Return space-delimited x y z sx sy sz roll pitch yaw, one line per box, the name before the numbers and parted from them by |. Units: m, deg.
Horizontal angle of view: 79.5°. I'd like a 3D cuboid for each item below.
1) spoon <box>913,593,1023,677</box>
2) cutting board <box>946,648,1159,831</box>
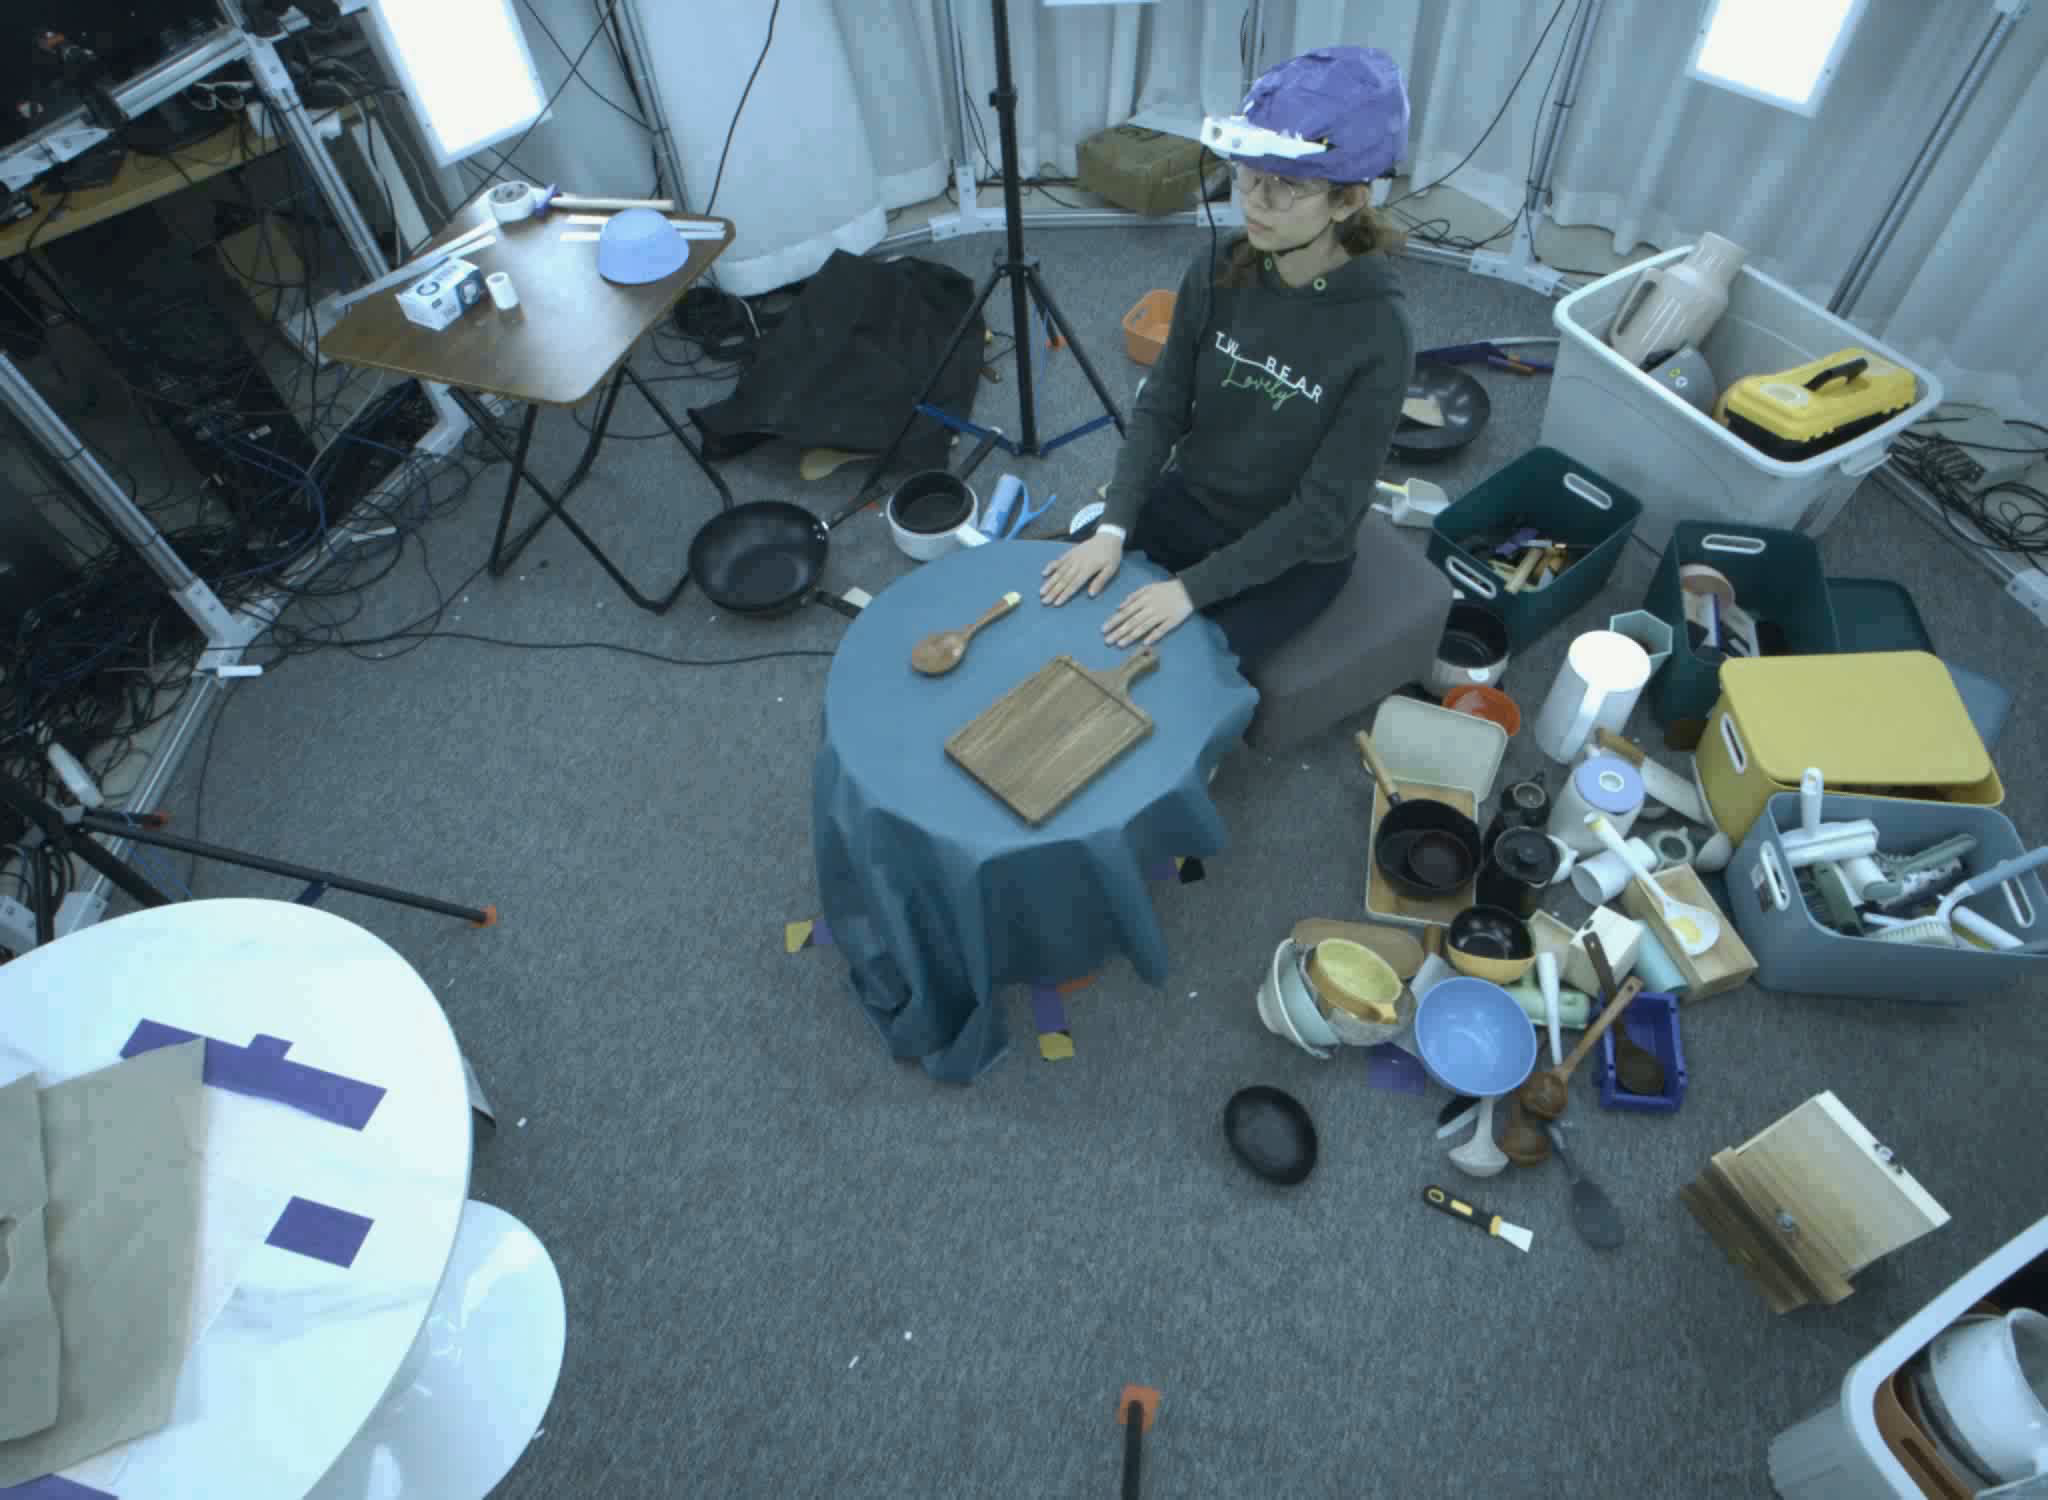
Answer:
spoon | -0.083 -0.180 1.916 0.217 0.017 0.074 -40 61 -22
cutting board | 0.075 -0.043 1.816 0.354 0.023 0.197 -39 61 -23
